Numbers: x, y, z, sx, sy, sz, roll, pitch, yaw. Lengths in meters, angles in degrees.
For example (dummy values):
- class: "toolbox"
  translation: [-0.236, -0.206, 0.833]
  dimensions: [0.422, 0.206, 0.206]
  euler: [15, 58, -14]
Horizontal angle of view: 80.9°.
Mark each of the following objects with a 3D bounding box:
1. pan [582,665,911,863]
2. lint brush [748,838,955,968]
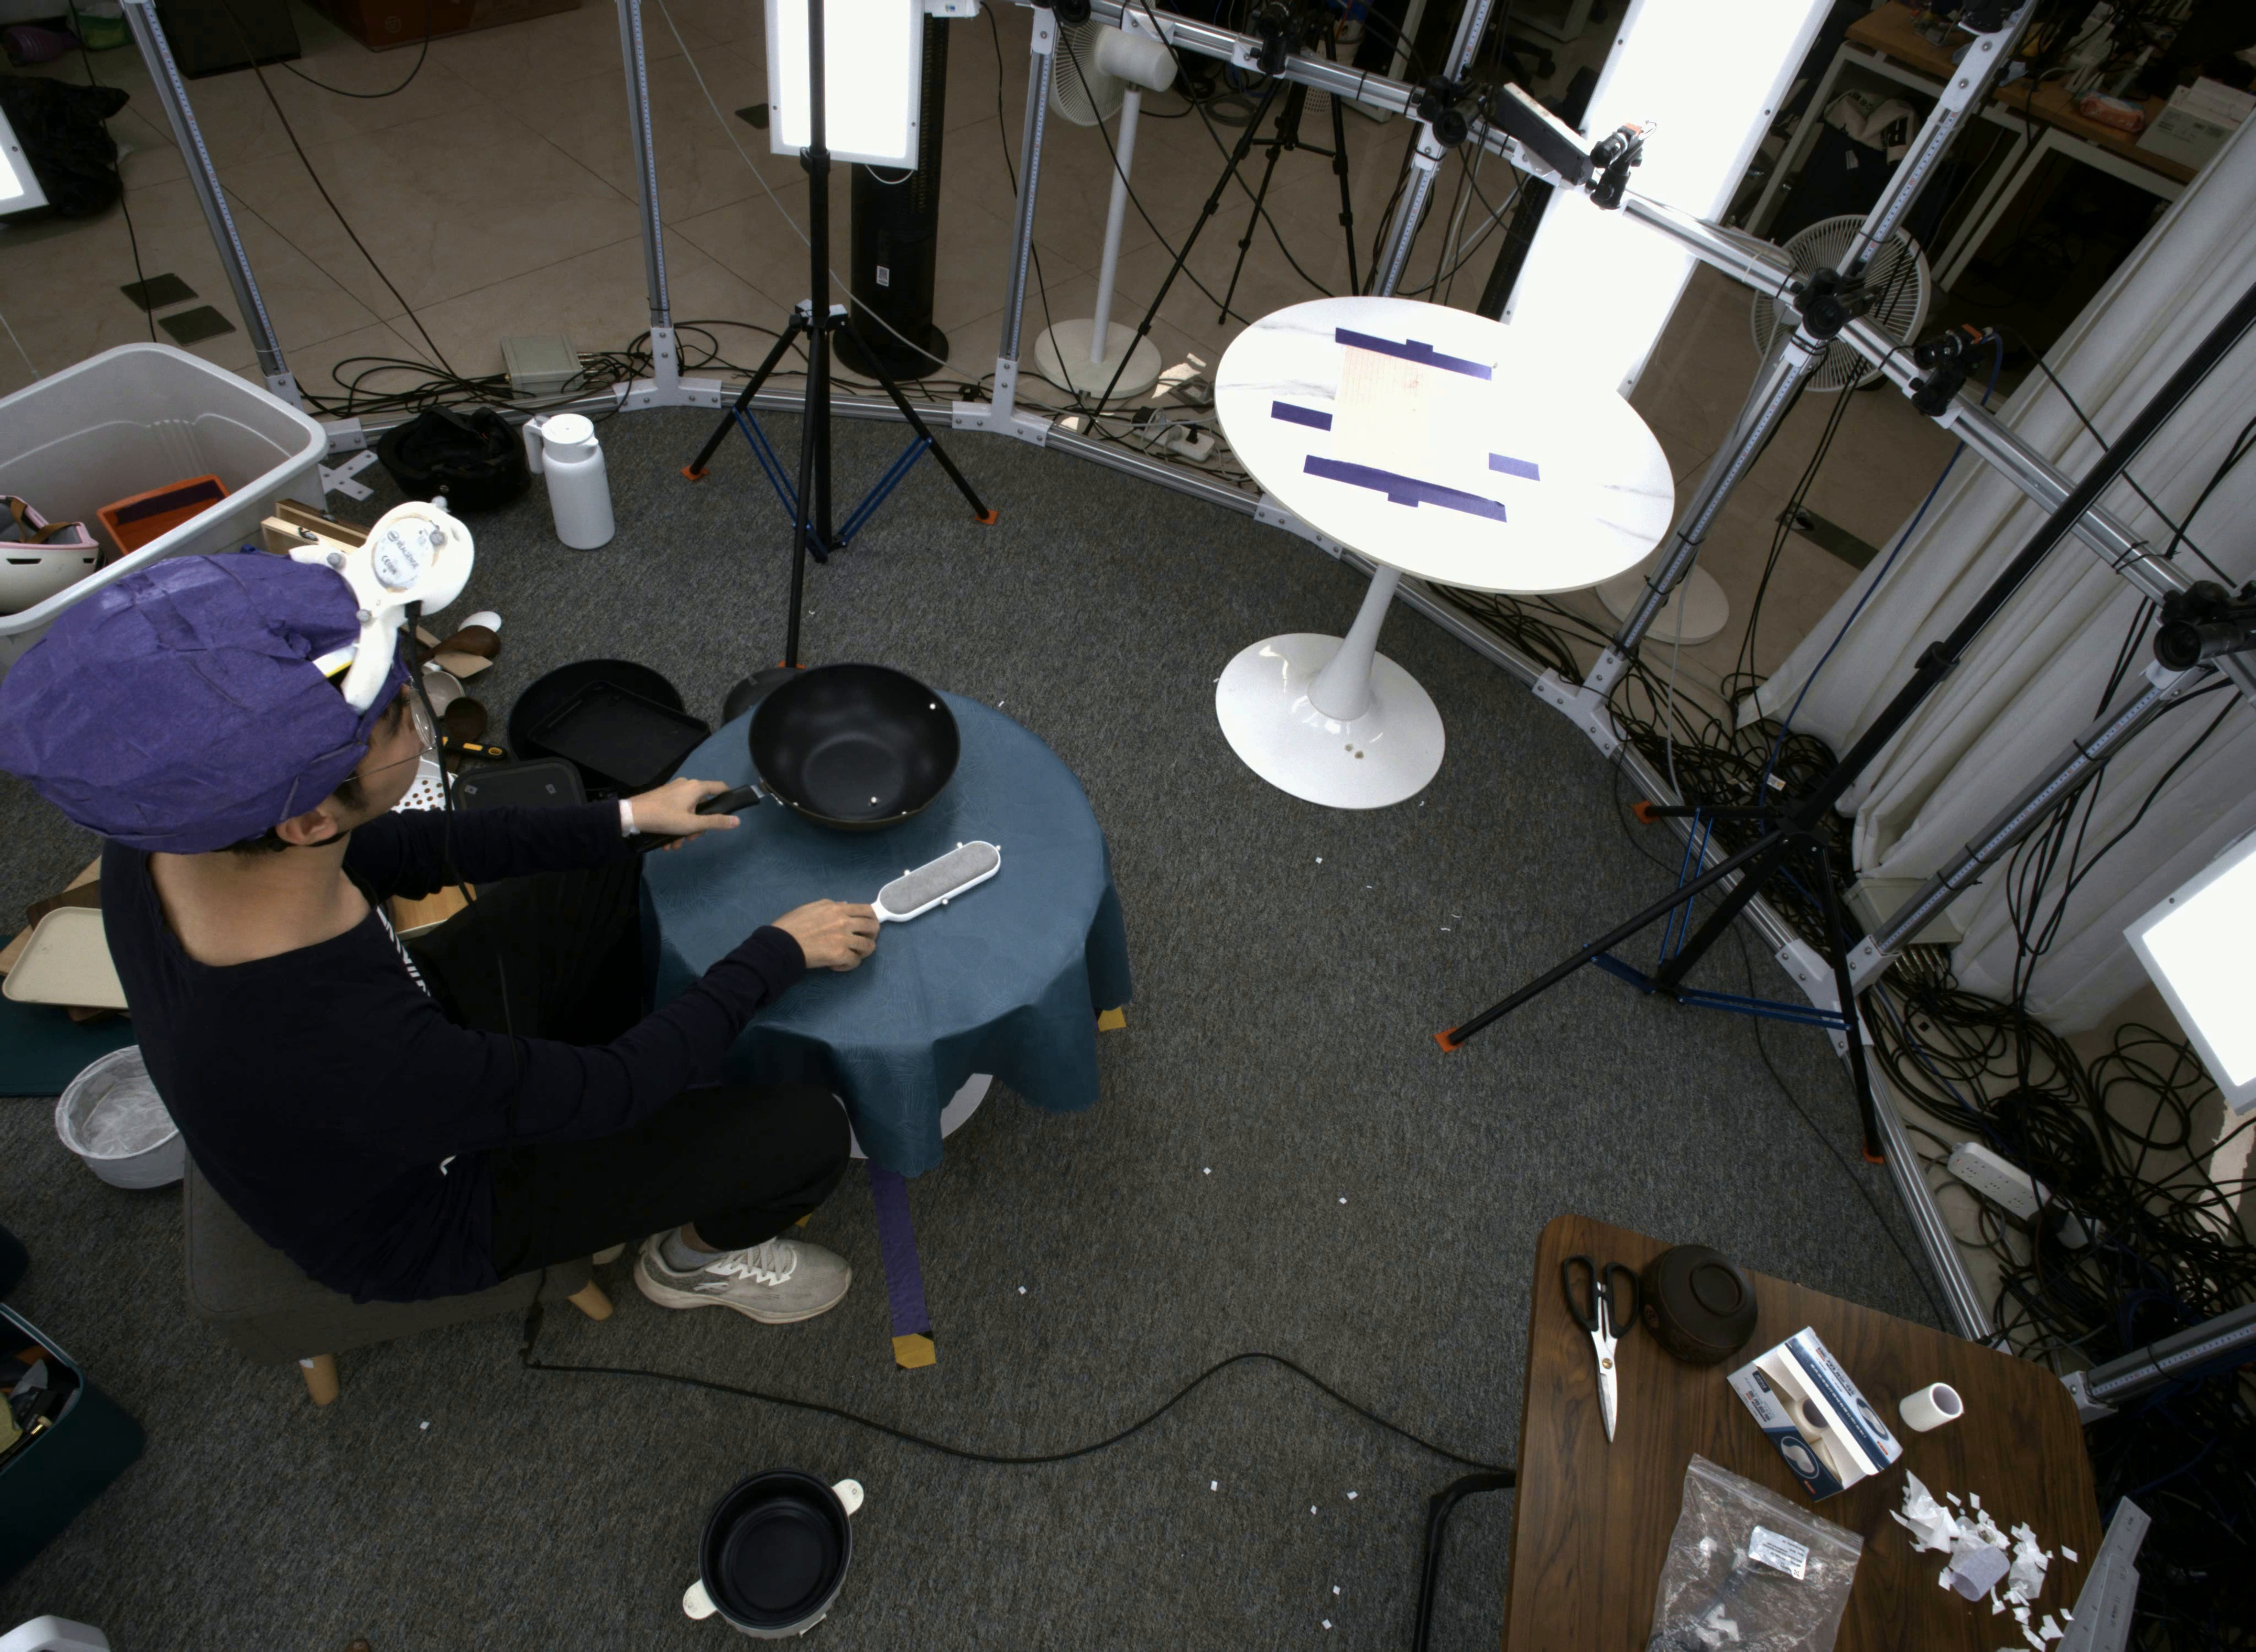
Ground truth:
- class: "pan"
  translation: [-0.499, -0.045, 1.696]
  dimensions: [0.464, 0.088, 0.281]
  euler: [-33, 67, -32]
- class: "lint brush"
  translation: [-0.351, 0.096, 1.664]
  dimensions: [0.310, 0.021, 0.059]
  euler: [-31, 74, -31]
